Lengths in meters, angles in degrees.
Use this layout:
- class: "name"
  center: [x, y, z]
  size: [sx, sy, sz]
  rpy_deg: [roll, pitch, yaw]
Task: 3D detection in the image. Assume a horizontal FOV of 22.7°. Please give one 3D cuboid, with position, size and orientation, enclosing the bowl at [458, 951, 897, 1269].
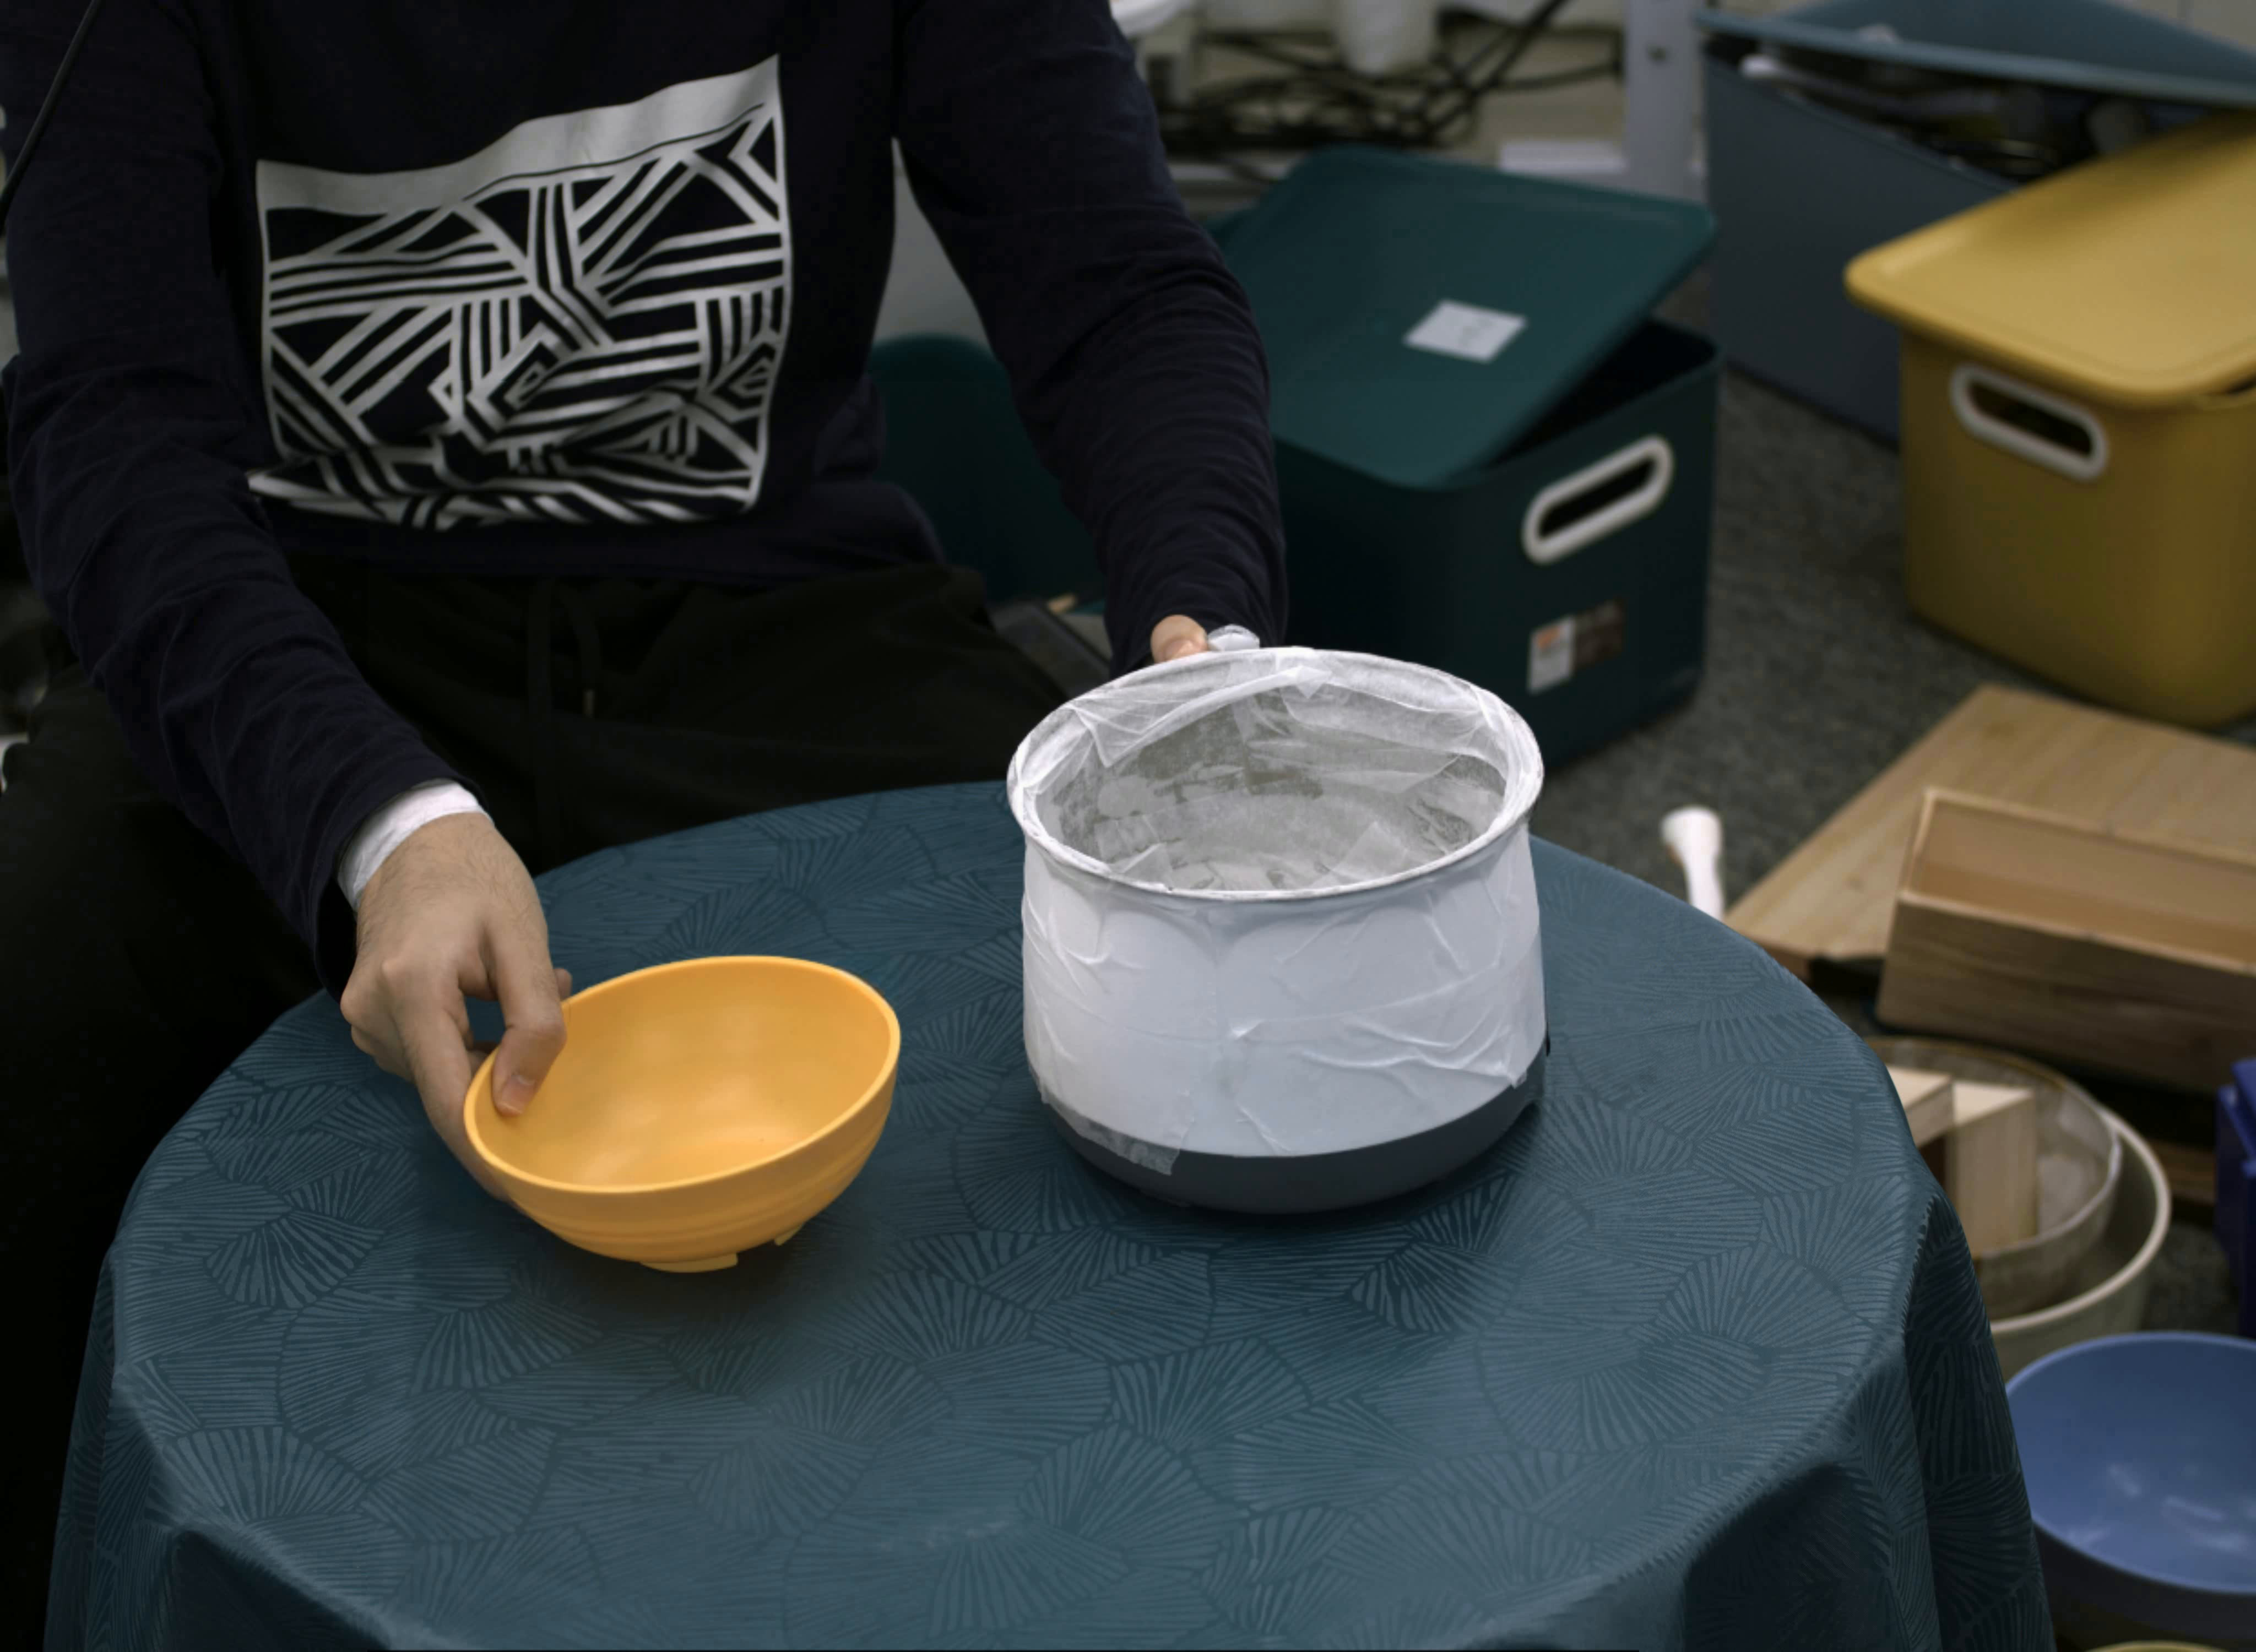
- class: "bowl"
  center: [-0.143, 0.103, 1.838]
  size: [0.144, 0.059, 0.147]
  rpy_deg: [-6, 28, 4]

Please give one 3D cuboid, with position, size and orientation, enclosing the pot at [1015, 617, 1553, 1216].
- class: "pot"
  center: [0.047, 0.023, 1.898]
  size: [0.178, 0.135, 0.237]
  rpy_deg: [-4, 28, -8]
